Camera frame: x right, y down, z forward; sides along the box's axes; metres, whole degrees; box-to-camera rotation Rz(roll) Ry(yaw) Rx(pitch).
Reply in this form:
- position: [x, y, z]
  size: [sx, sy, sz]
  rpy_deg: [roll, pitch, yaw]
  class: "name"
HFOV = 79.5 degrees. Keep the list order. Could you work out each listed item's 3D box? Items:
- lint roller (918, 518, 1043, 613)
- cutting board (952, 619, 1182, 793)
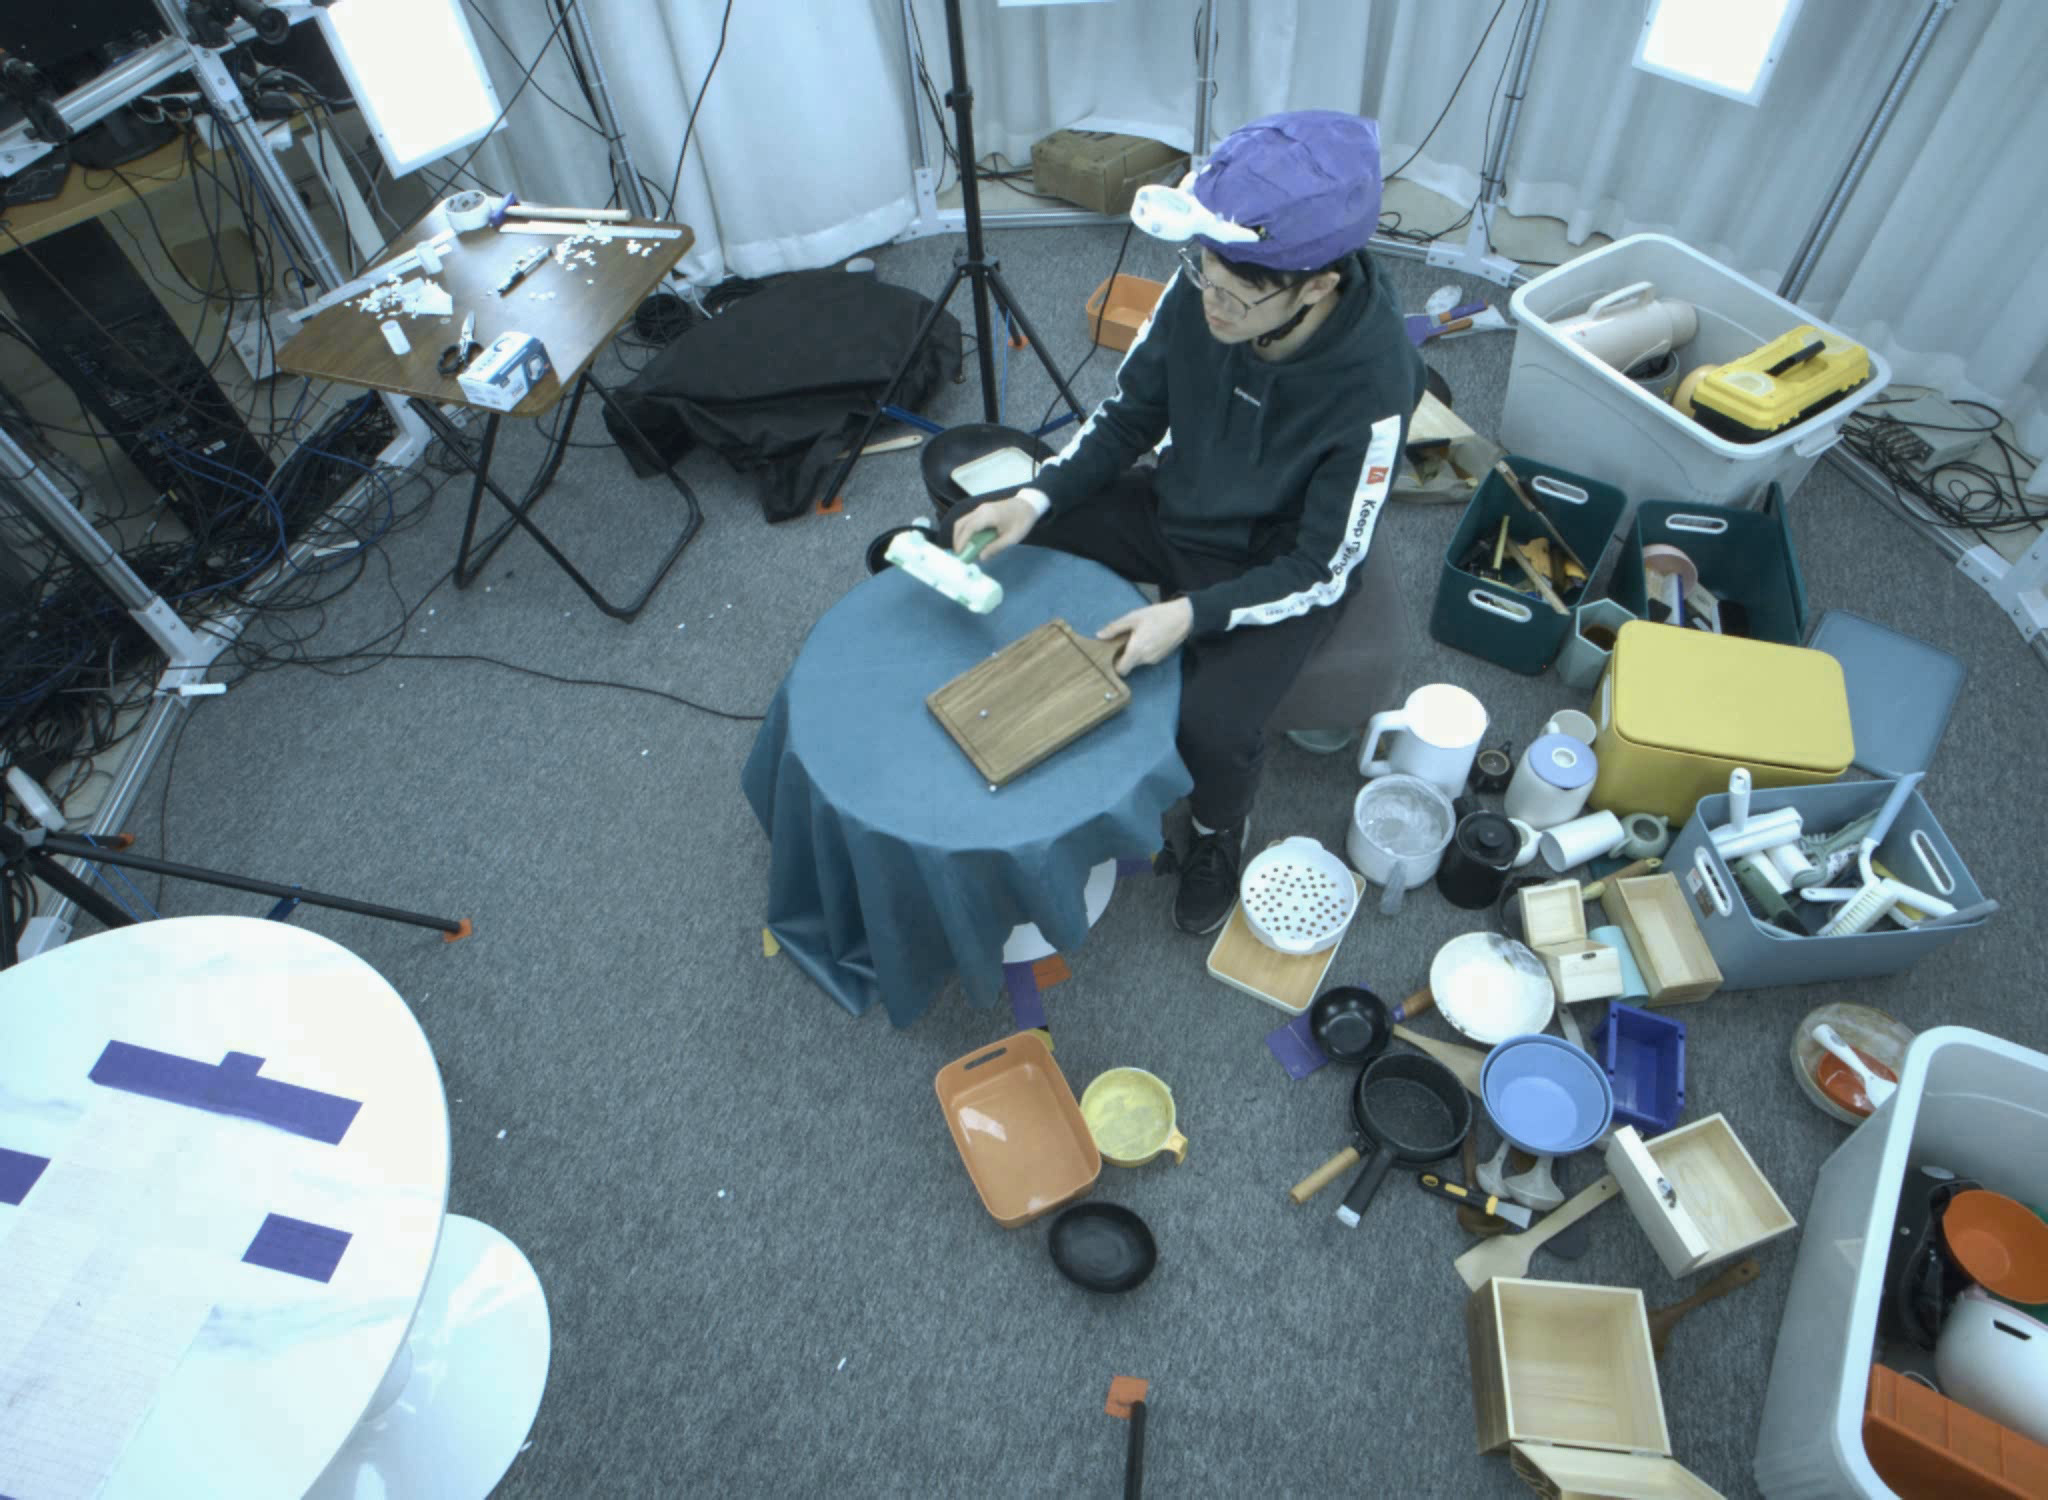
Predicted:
- position: [-0.037, -0.317, 1.894]
  size: [0.195, 0.083, 0.184]
  rpy_deg: [35, 70, 22]
  class: "lint roller"
- position: [0.089, -0.095, 1.815]
  size: [0.354, 0.023, 0.197]
  rpy_deg: [-32, 59, -13]
  class: "cutting board"
